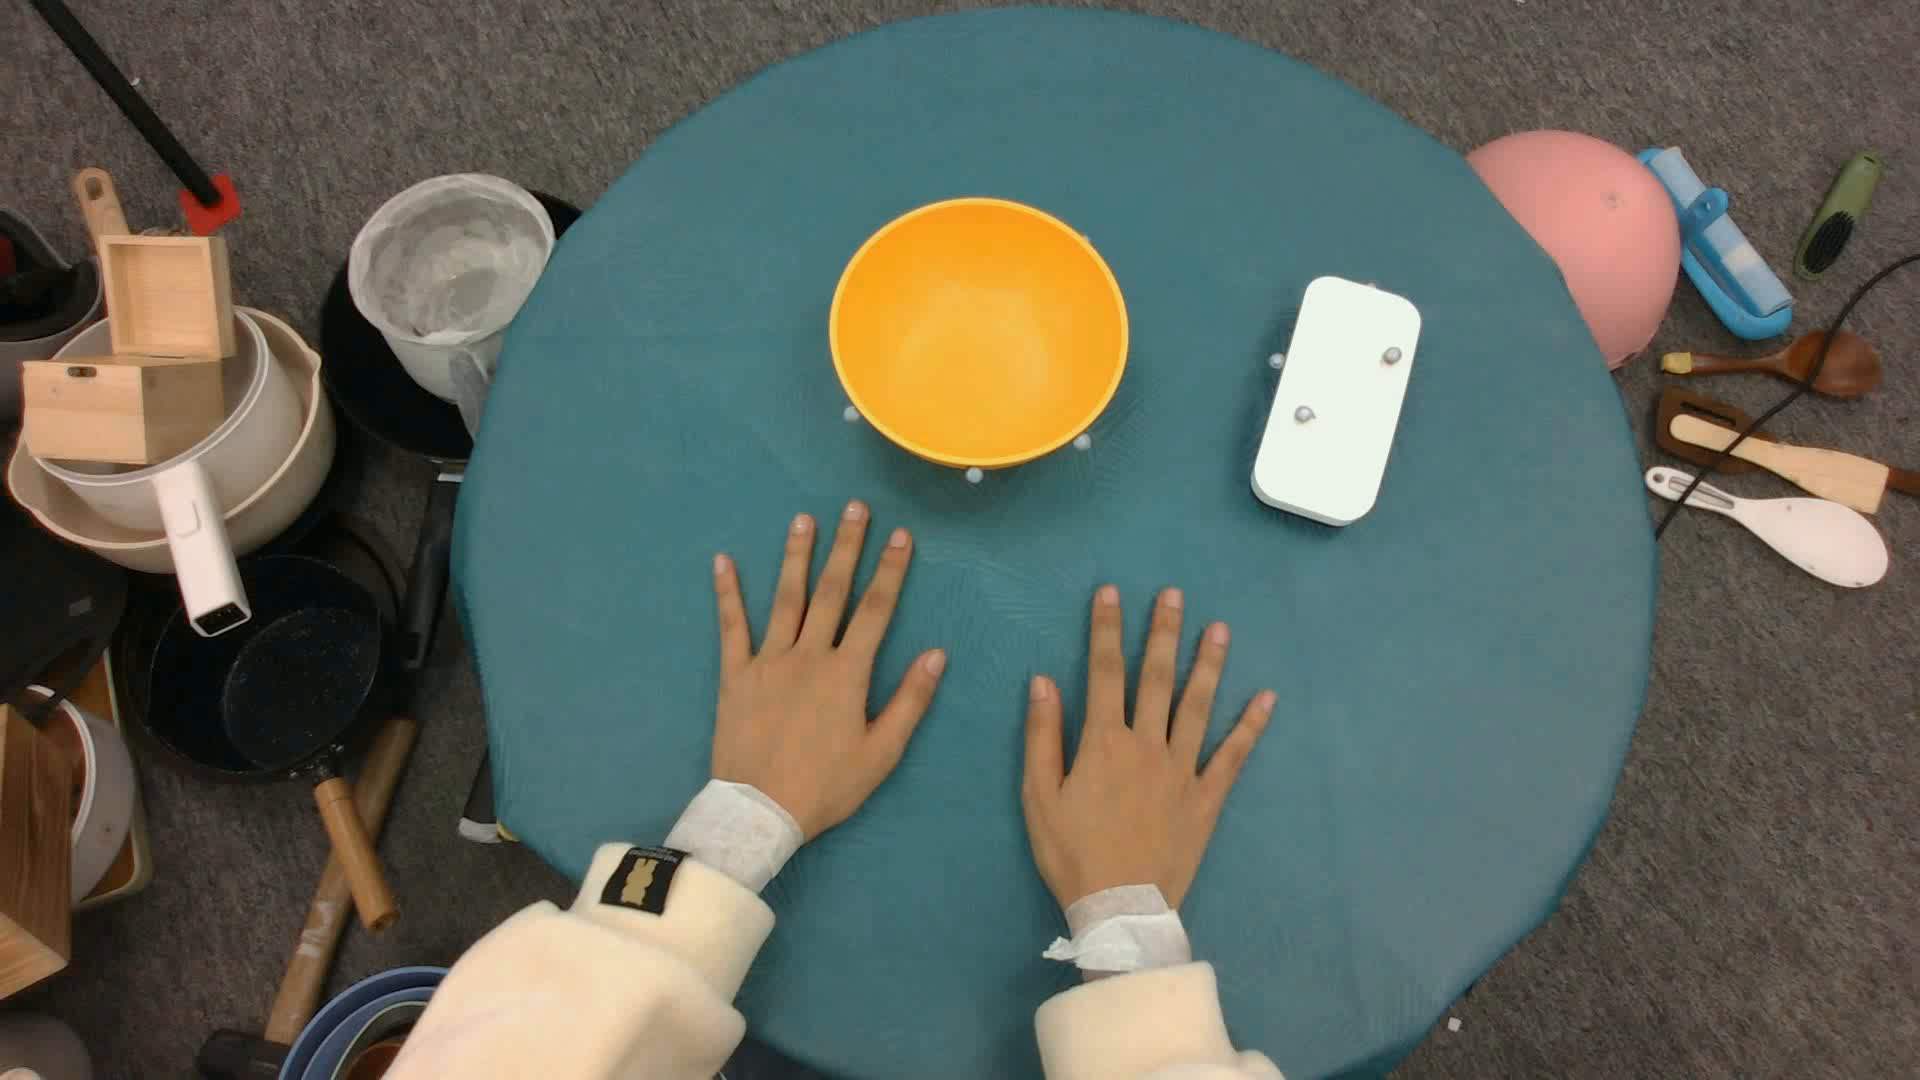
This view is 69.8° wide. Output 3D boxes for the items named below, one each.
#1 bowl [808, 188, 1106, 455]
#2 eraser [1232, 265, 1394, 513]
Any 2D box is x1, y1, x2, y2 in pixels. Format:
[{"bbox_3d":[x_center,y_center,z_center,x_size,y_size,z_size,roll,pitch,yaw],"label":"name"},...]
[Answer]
[{"bbox_3d":[-0.003,-0.099,0.690,0.145,0.060,0.146,2,69,-4],"label":"bowl"},{"bbox_3d":[0.180,-0.079,0.707,0.063,0.034,0.132,18,70,4],"label":"eraser"}]
